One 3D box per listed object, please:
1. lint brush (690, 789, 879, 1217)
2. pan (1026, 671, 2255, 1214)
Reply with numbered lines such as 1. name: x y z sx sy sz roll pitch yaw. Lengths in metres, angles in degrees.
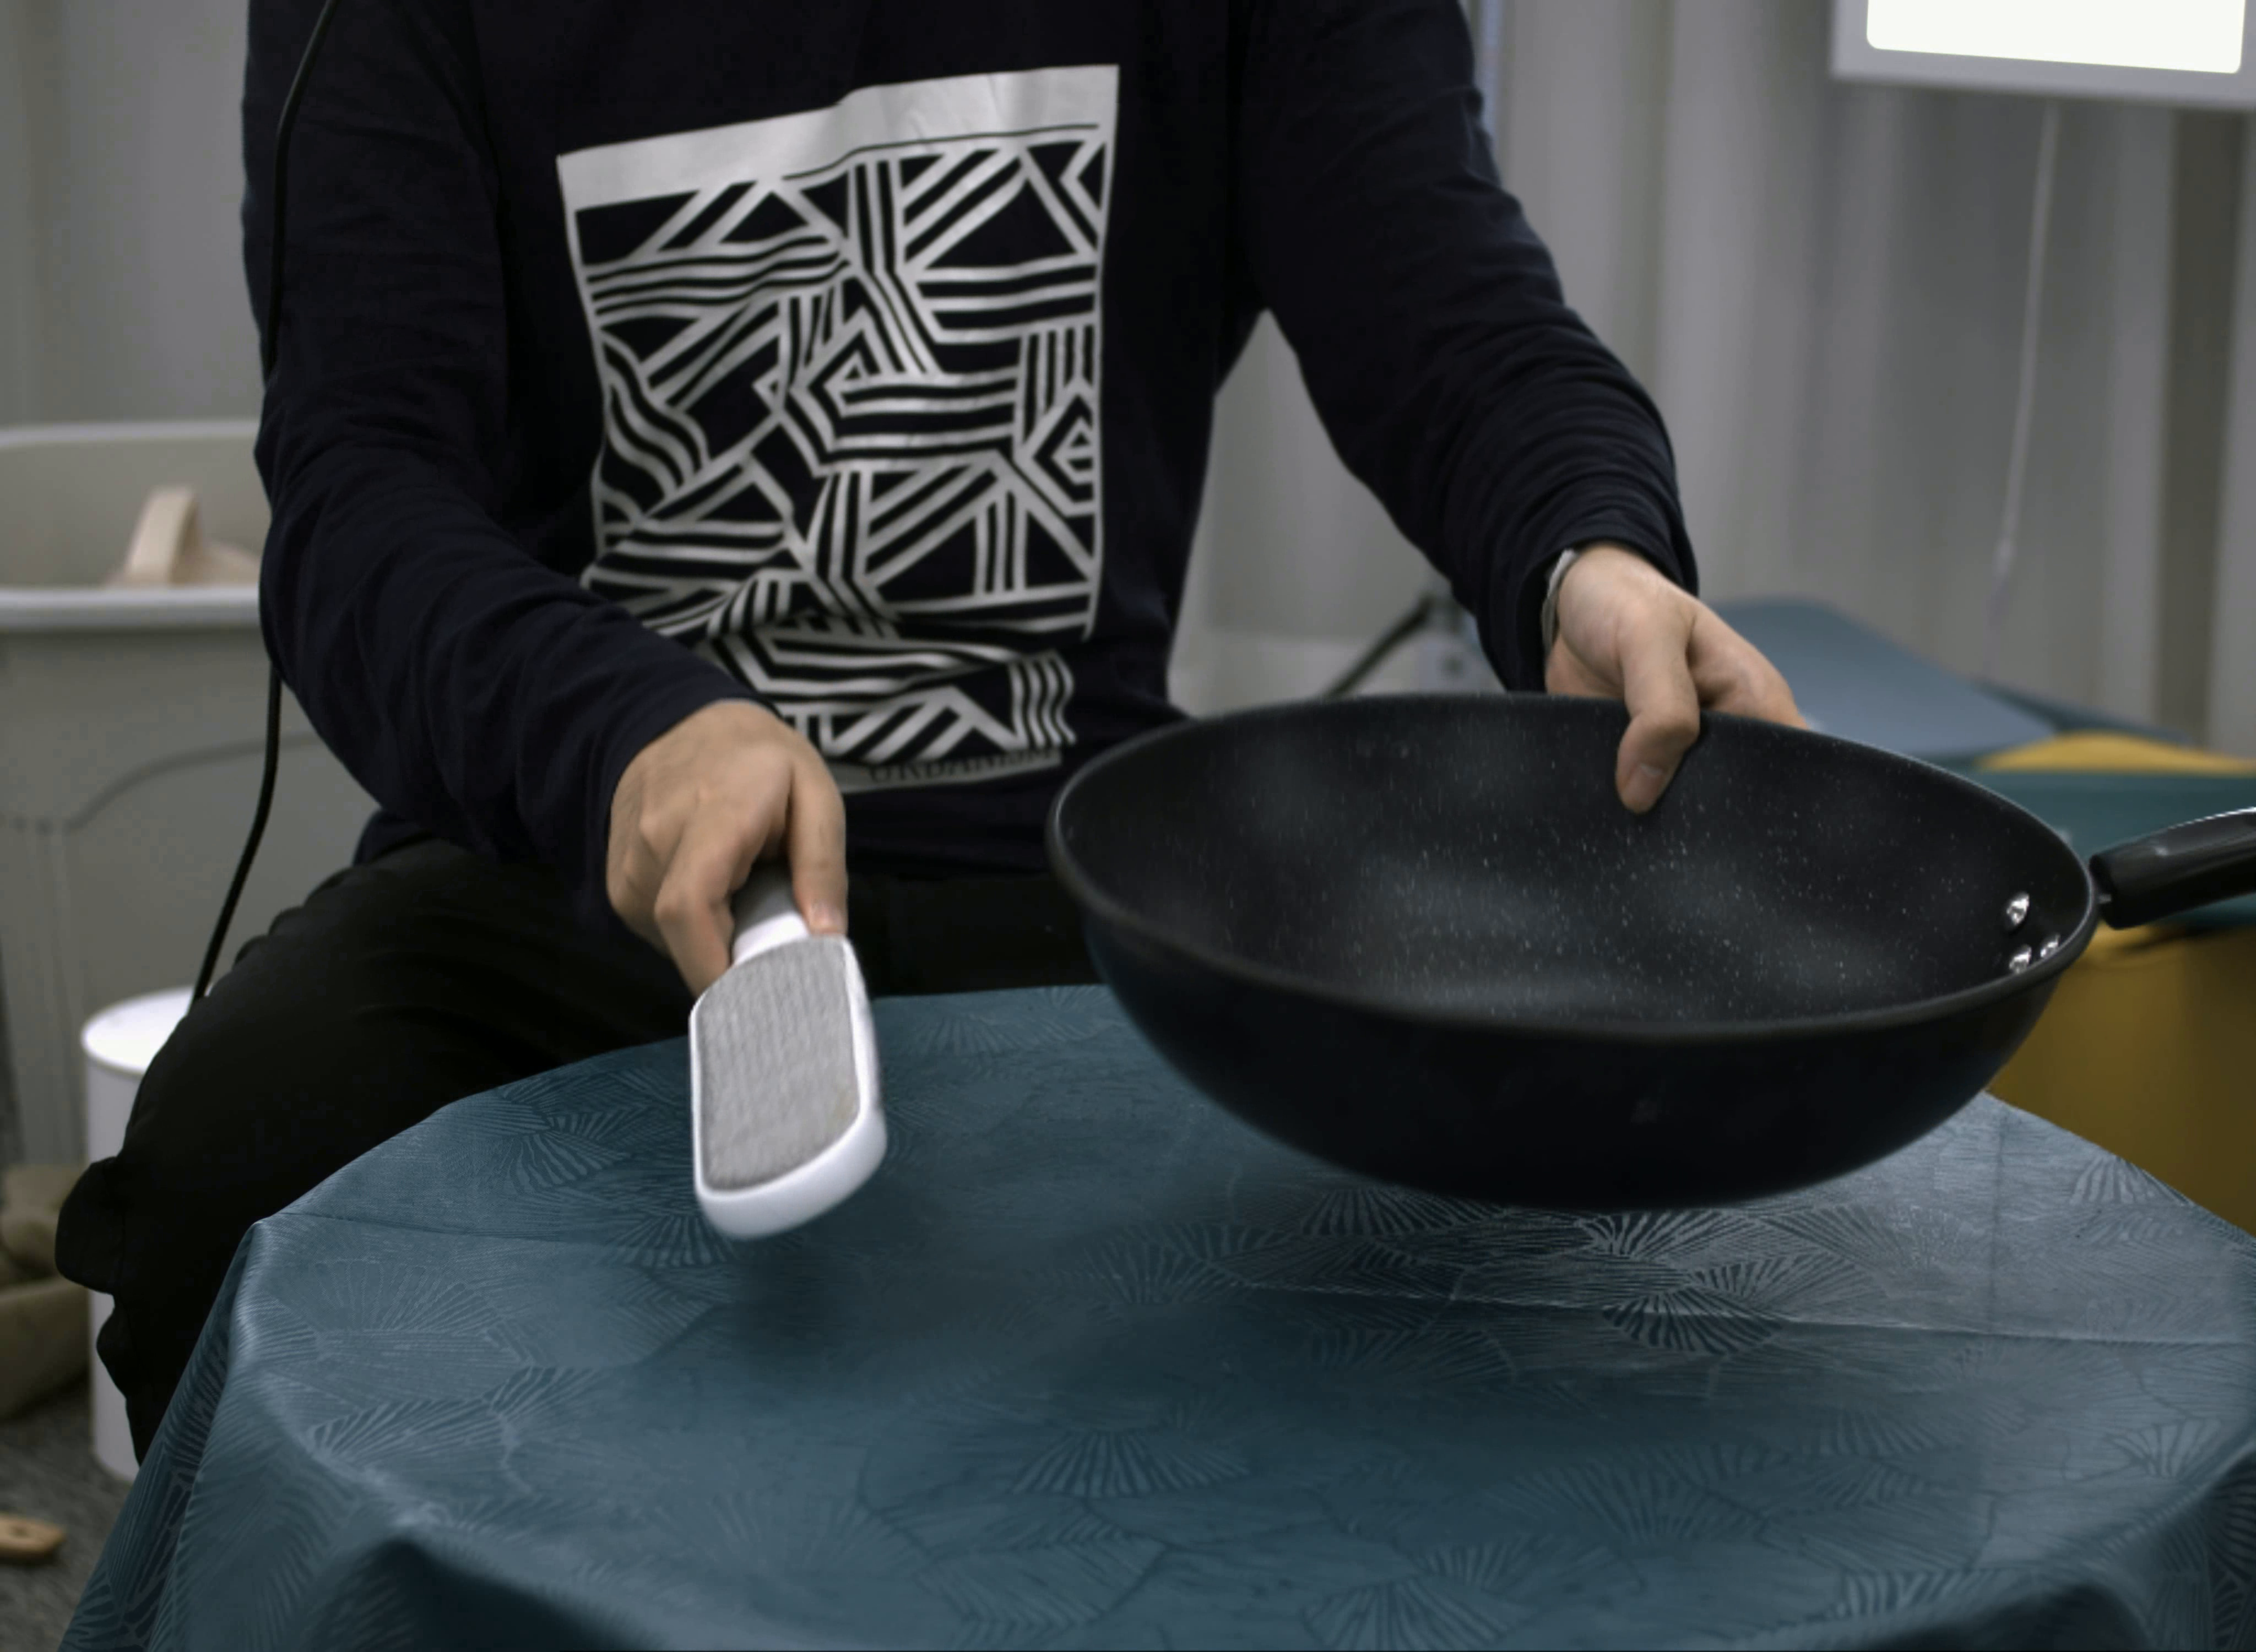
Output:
1. lint brush: -0.106 0.046 1.610 0.060 0.021 0.306 -31 19 6
2. pan: 0.205 0.033 1.558 0.477 0.112 0.307 2 20 -8
